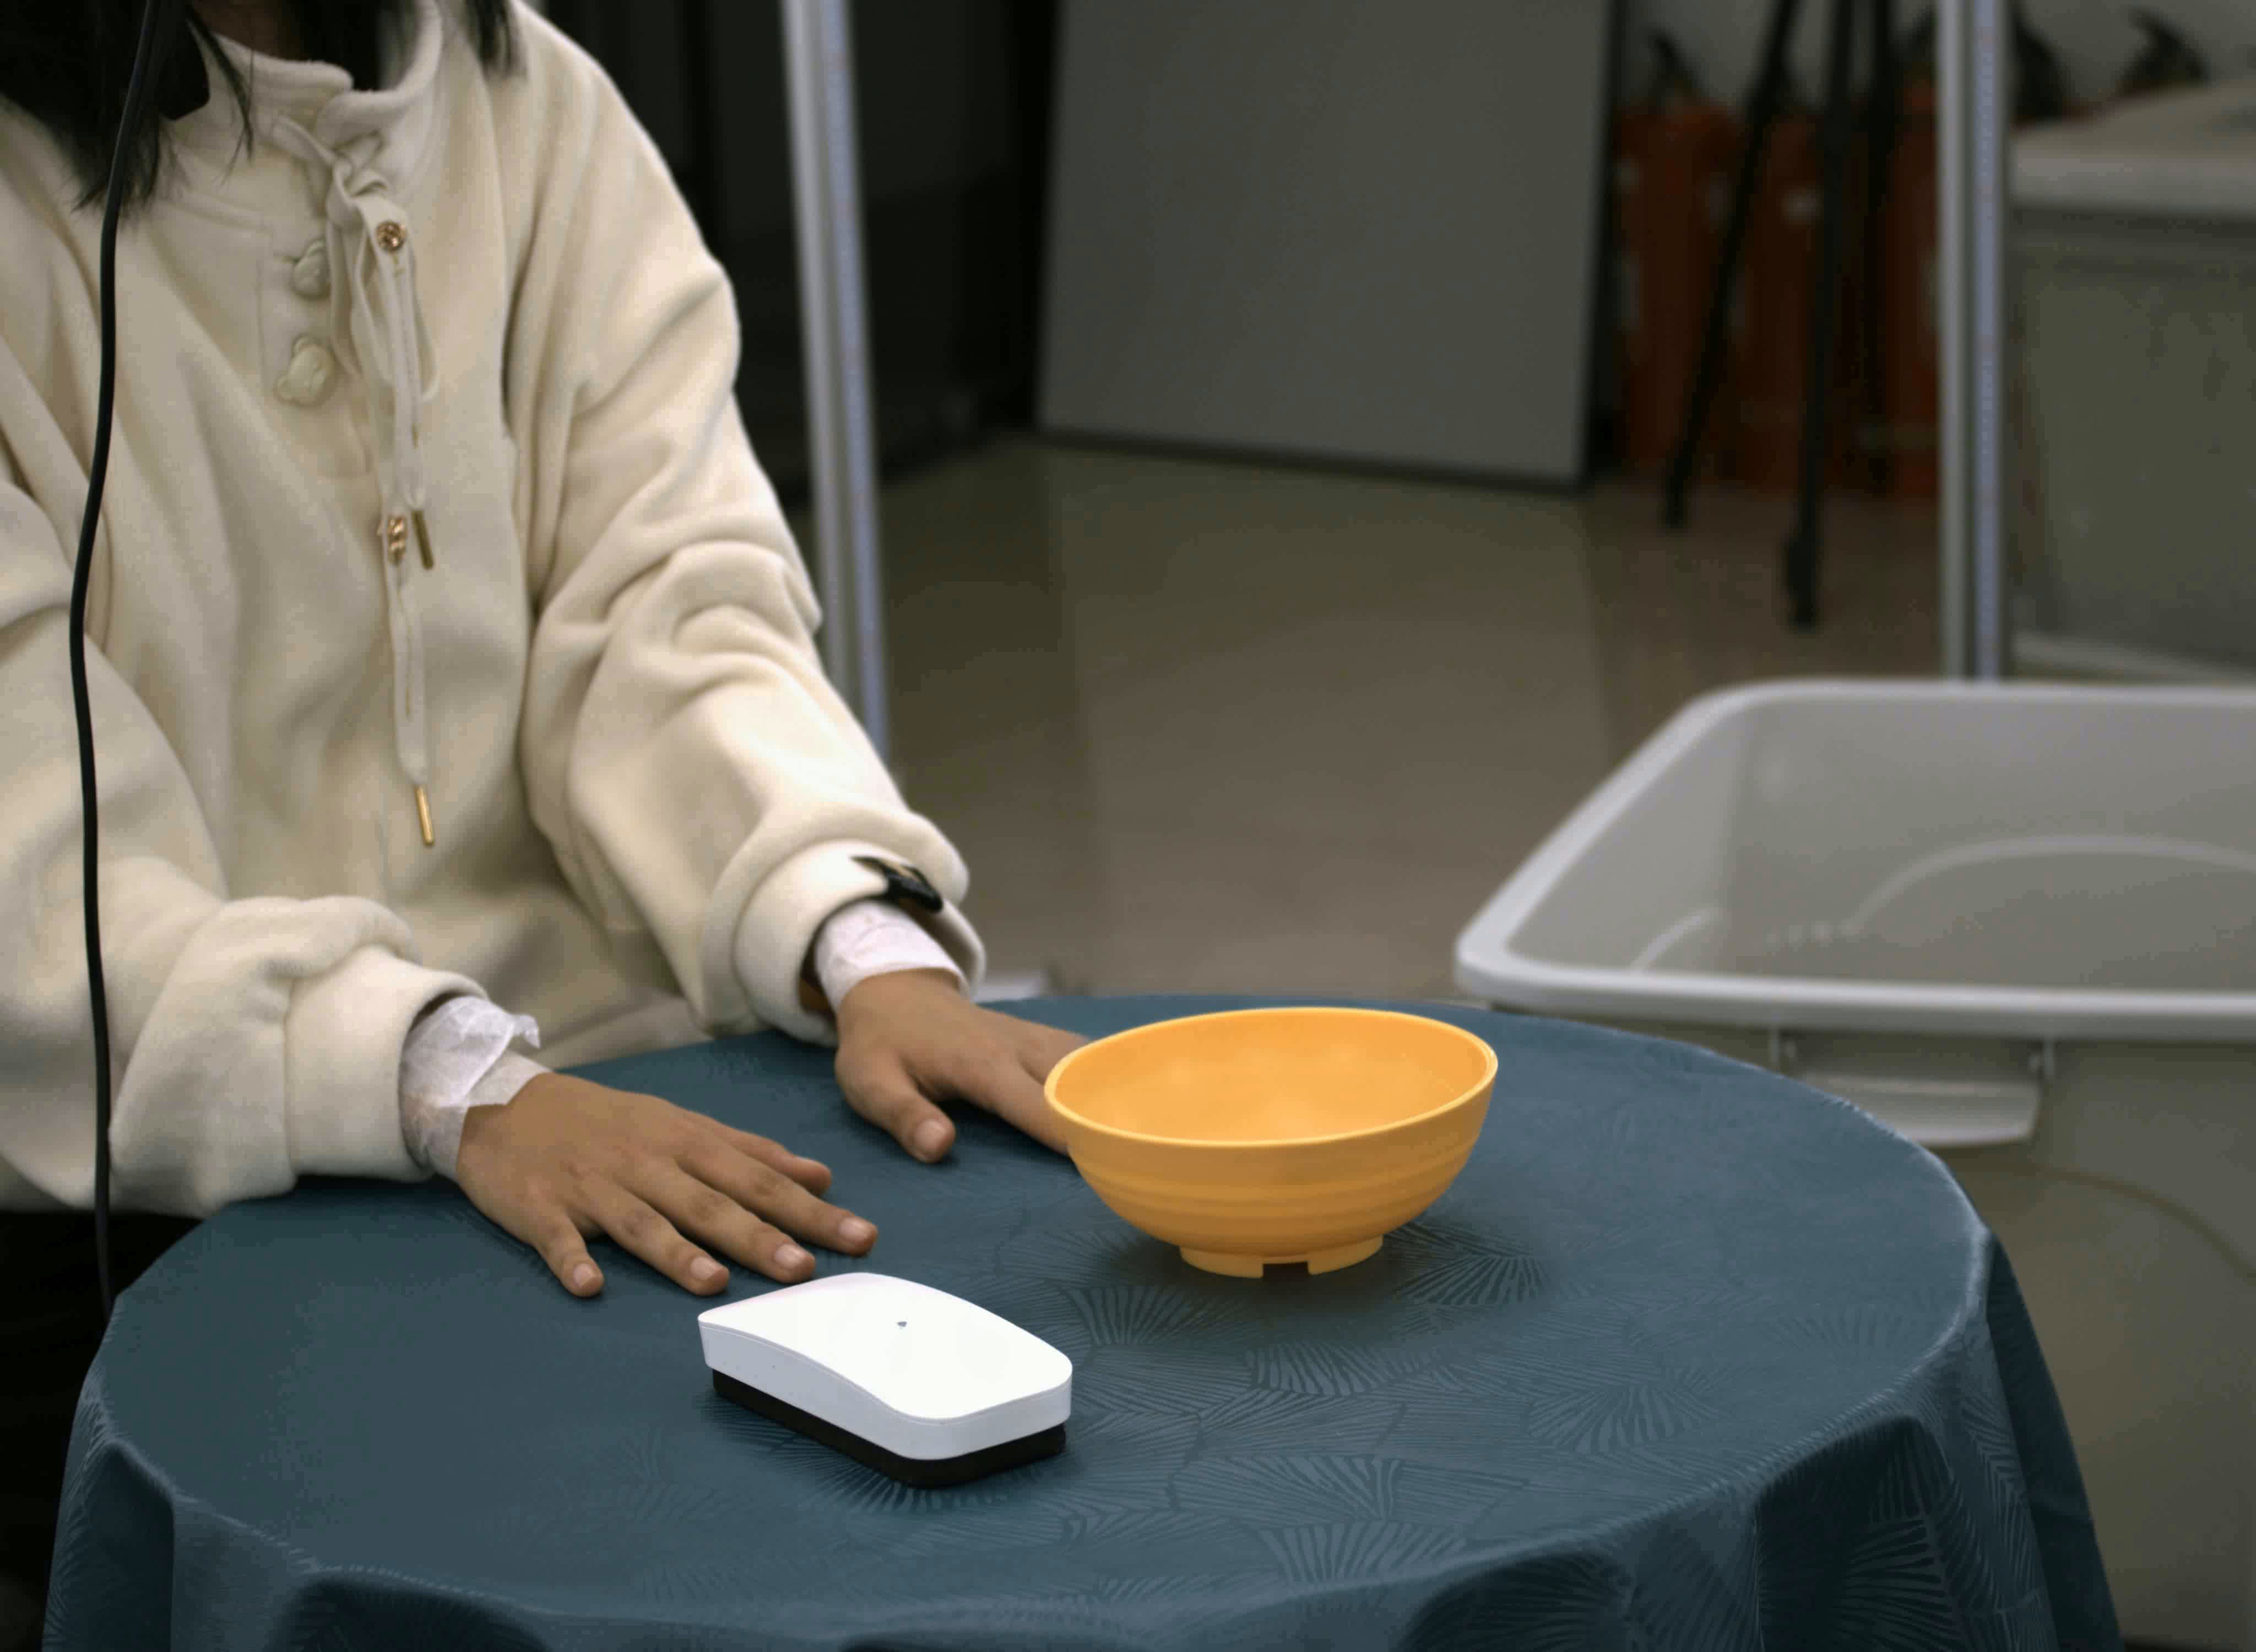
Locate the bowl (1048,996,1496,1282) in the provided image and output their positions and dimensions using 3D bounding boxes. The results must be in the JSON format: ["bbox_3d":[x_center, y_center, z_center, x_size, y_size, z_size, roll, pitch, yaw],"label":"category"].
[{"bbox_3d":[0.047,0.104,1.701,0.143,0.061,0.145,-4,16,0],"label":"bowl"}]

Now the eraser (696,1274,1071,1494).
[{"bbox_3d":[-0.071,0.159,1.574,0.062,0.035,0.133,-13,16,-33],"label":"eraser"}]
